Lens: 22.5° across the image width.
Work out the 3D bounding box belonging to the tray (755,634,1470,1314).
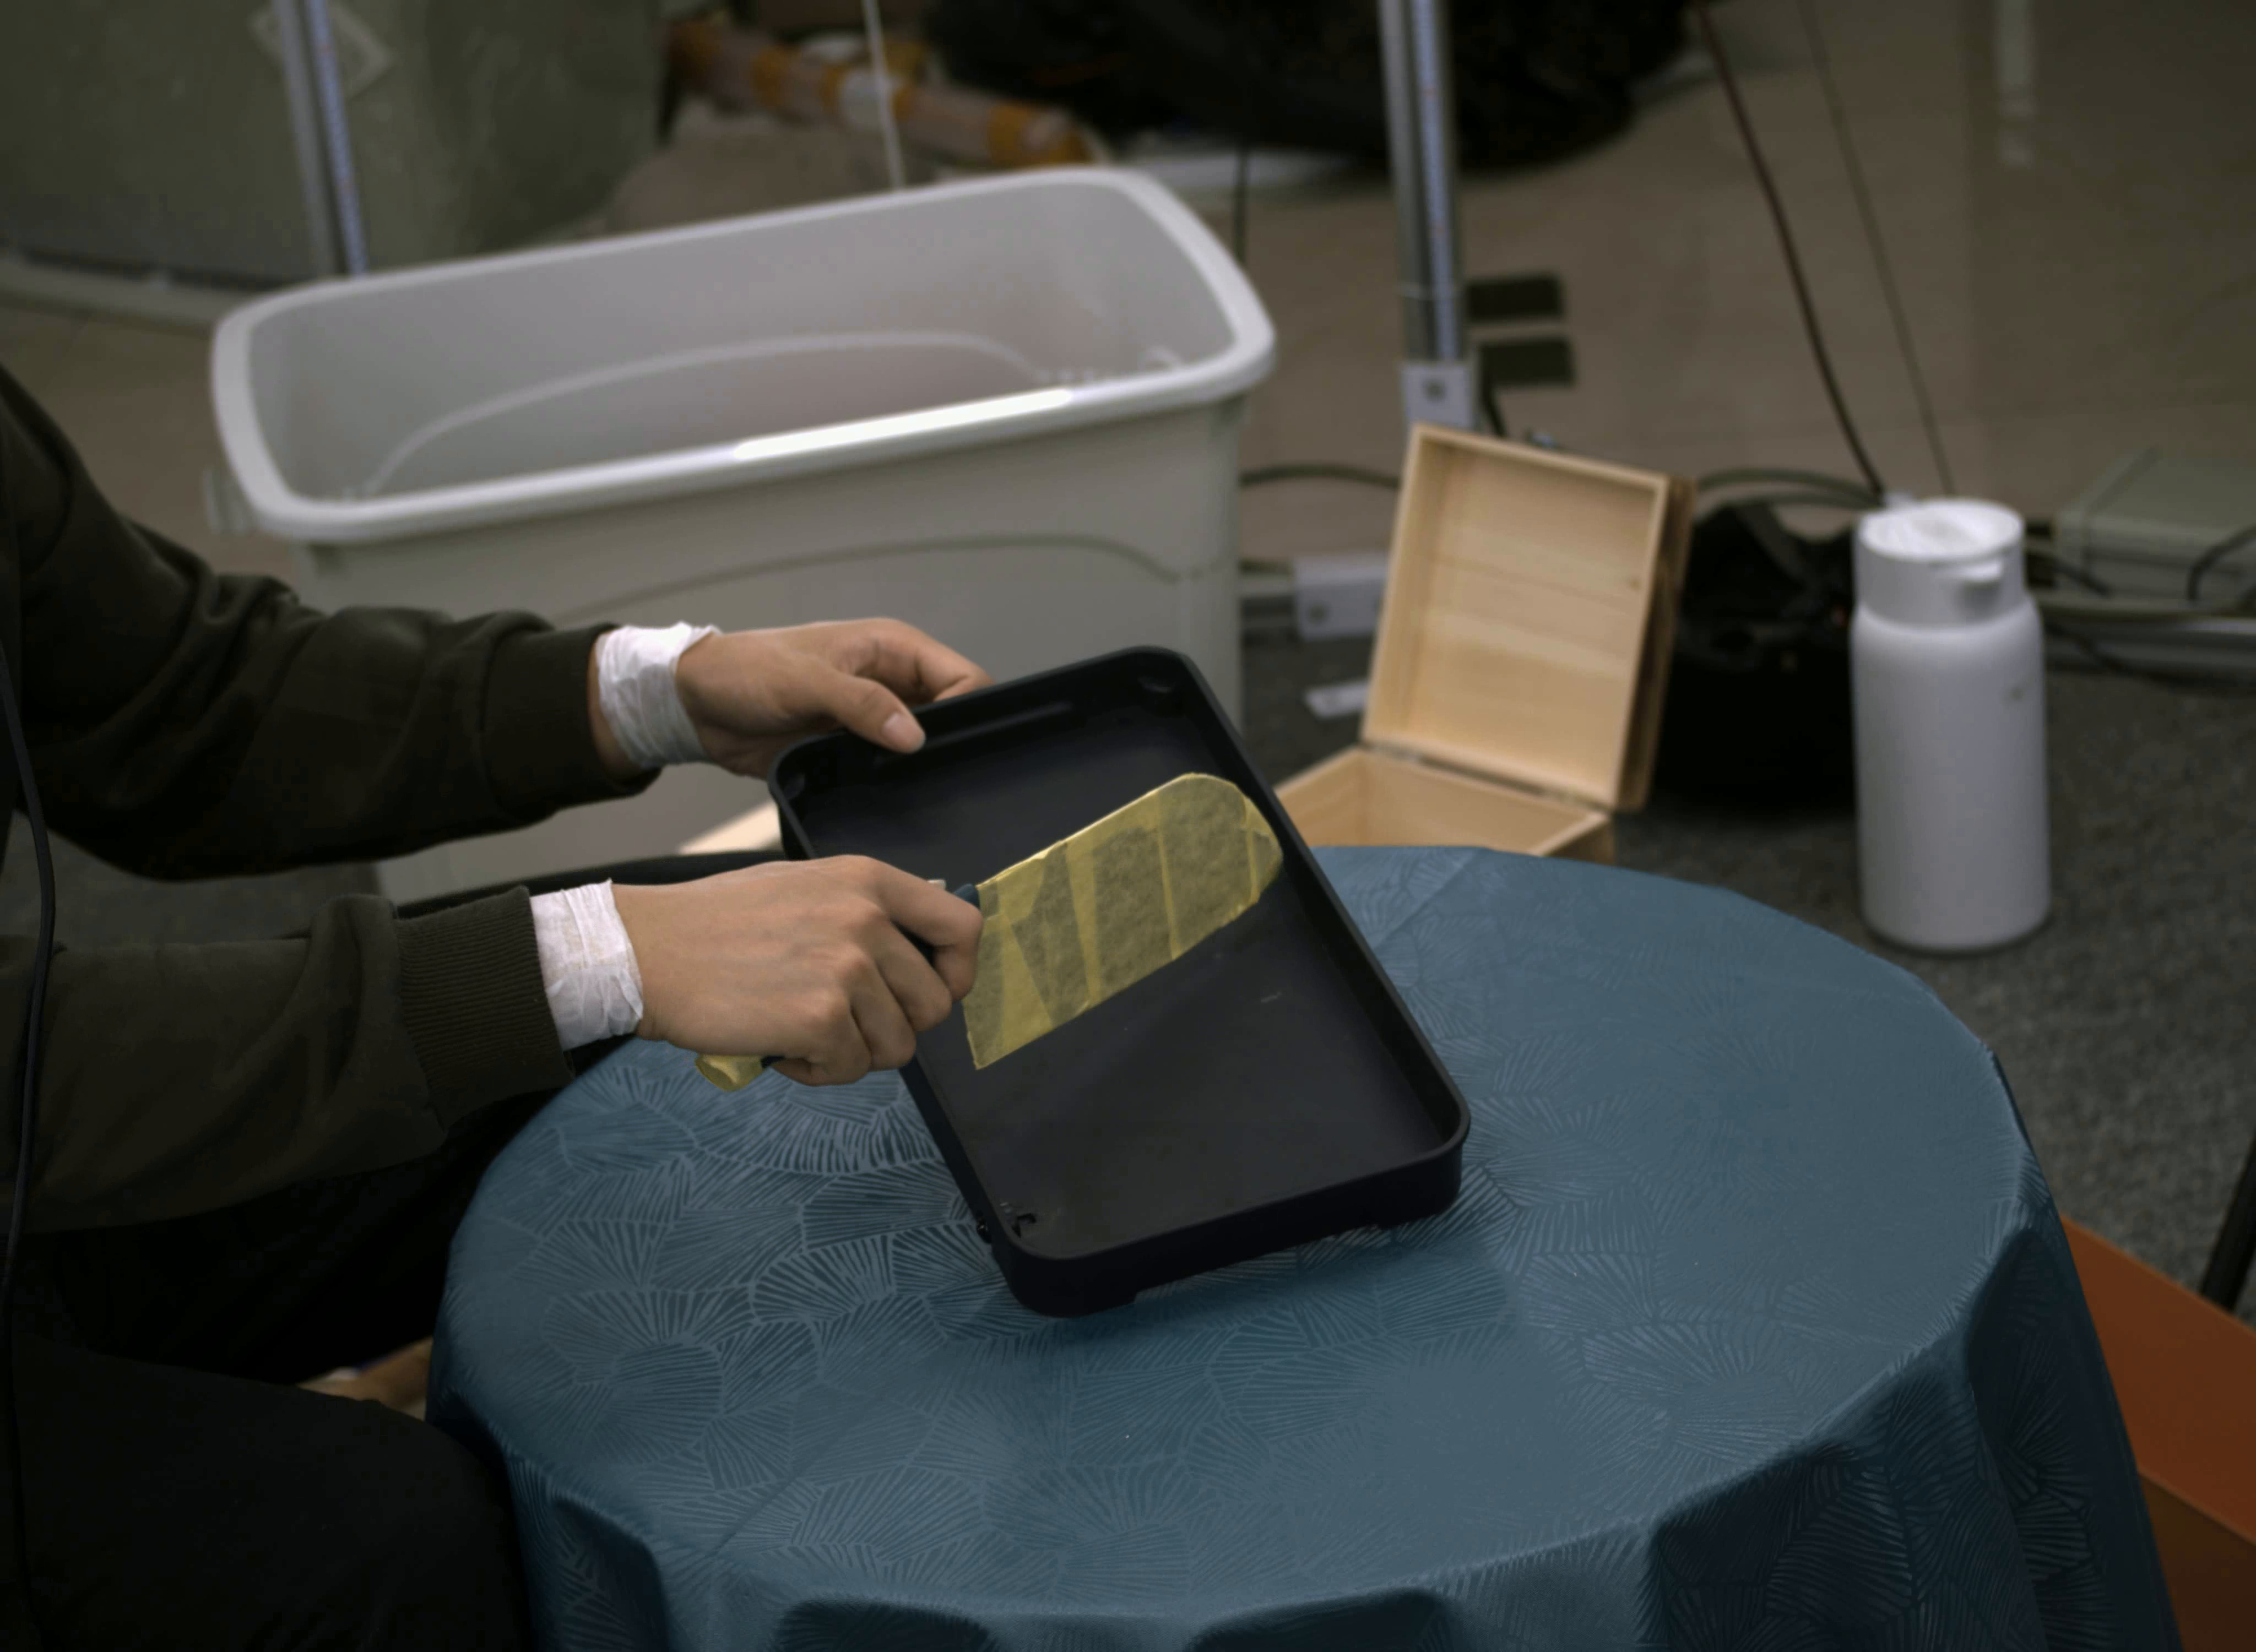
[{"bbox_3d":[-0.010,0.051,2.186,0.183,0.038,0.313,-18,45,-14],"label":"tray"}]

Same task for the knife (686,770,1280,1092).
[{"bbox_3d":[-0.047,0.049,2.121,0.287,0.082,0.027,-24,27,-35],"label":"knife"}]
